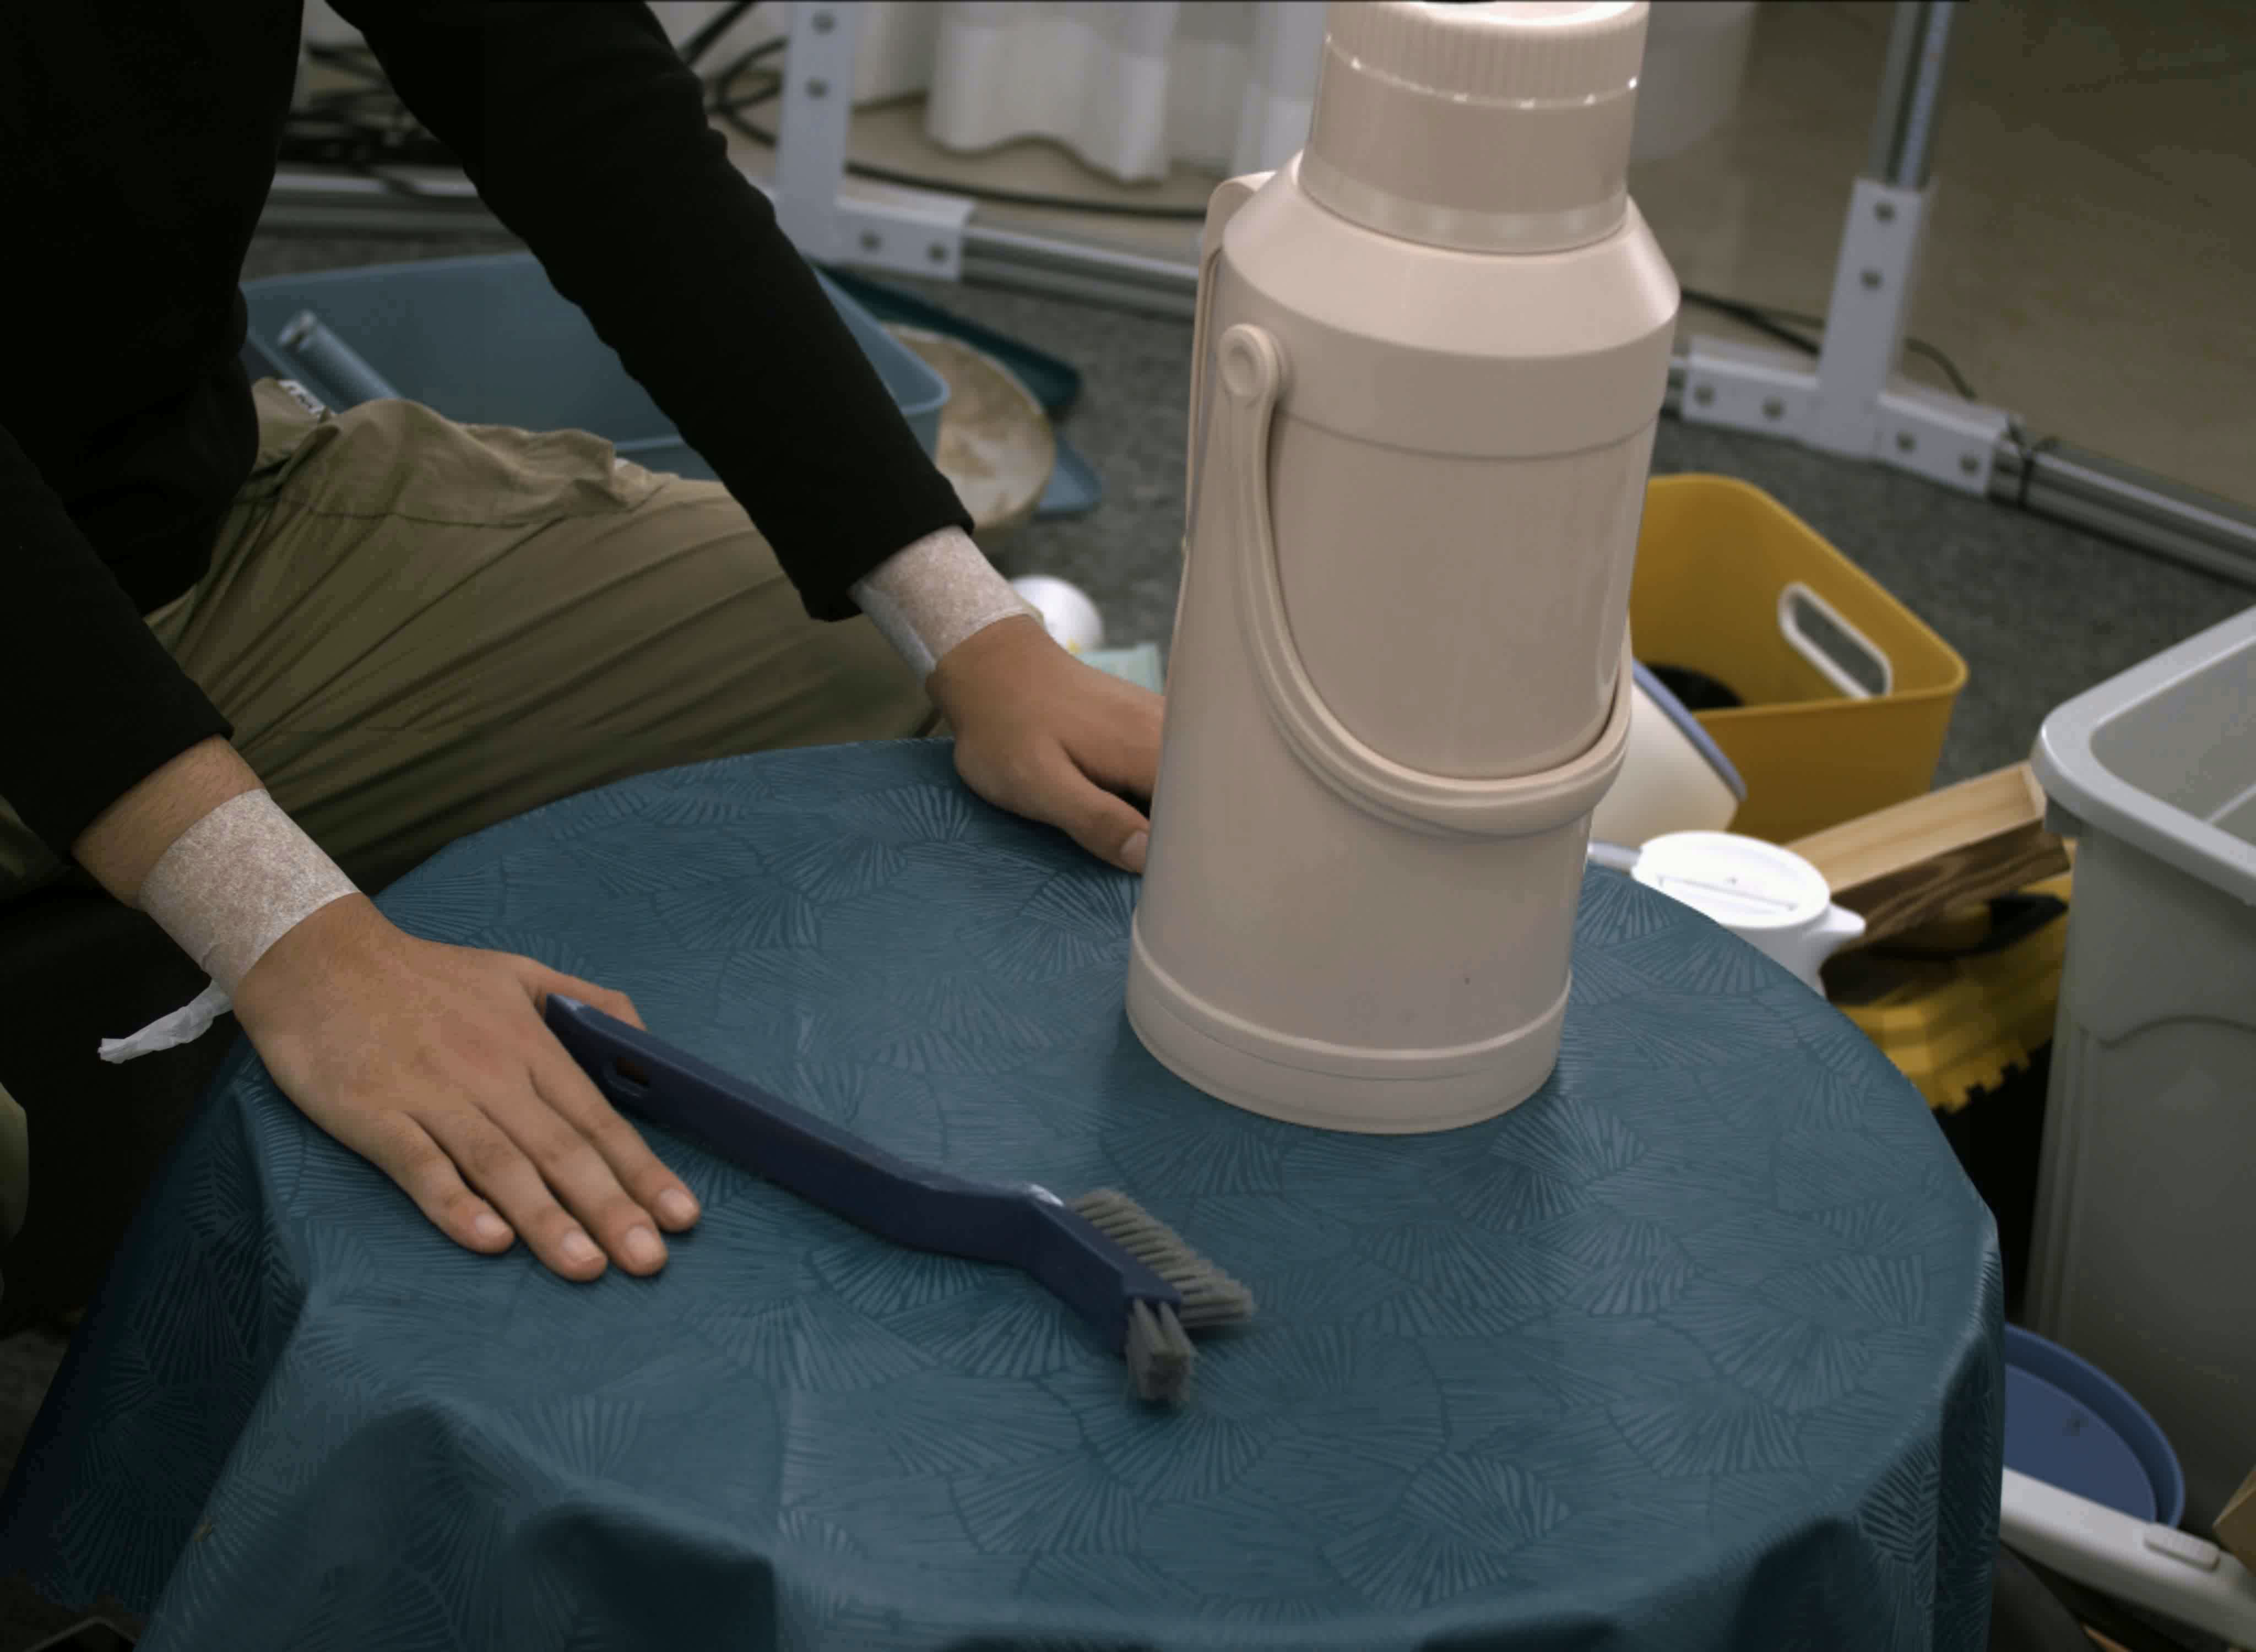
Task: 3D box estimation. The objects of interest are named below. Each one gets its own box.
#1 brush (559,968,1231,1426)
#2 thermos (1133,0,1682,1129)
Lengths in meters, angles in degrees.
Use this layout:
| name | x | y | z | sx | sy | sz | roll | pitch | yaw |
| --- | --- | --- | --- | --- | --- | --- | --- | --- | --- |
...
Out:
| name | x | y | z | sx | sy | sz | roll | pitch | yaw |
| --- | --- | --- | --- | --- | --- | --- | --- | --- | --- |
| brush | -0.090 | 0.118 | 1.755 | 0.274 | 0.033 | 0.095 | 21 | 28 | 22 |
| thermos | 0.092 | -0.111 | 1.846 | 0.174 | 0.405 | 0.209 | -15 | 34 | -35 |
